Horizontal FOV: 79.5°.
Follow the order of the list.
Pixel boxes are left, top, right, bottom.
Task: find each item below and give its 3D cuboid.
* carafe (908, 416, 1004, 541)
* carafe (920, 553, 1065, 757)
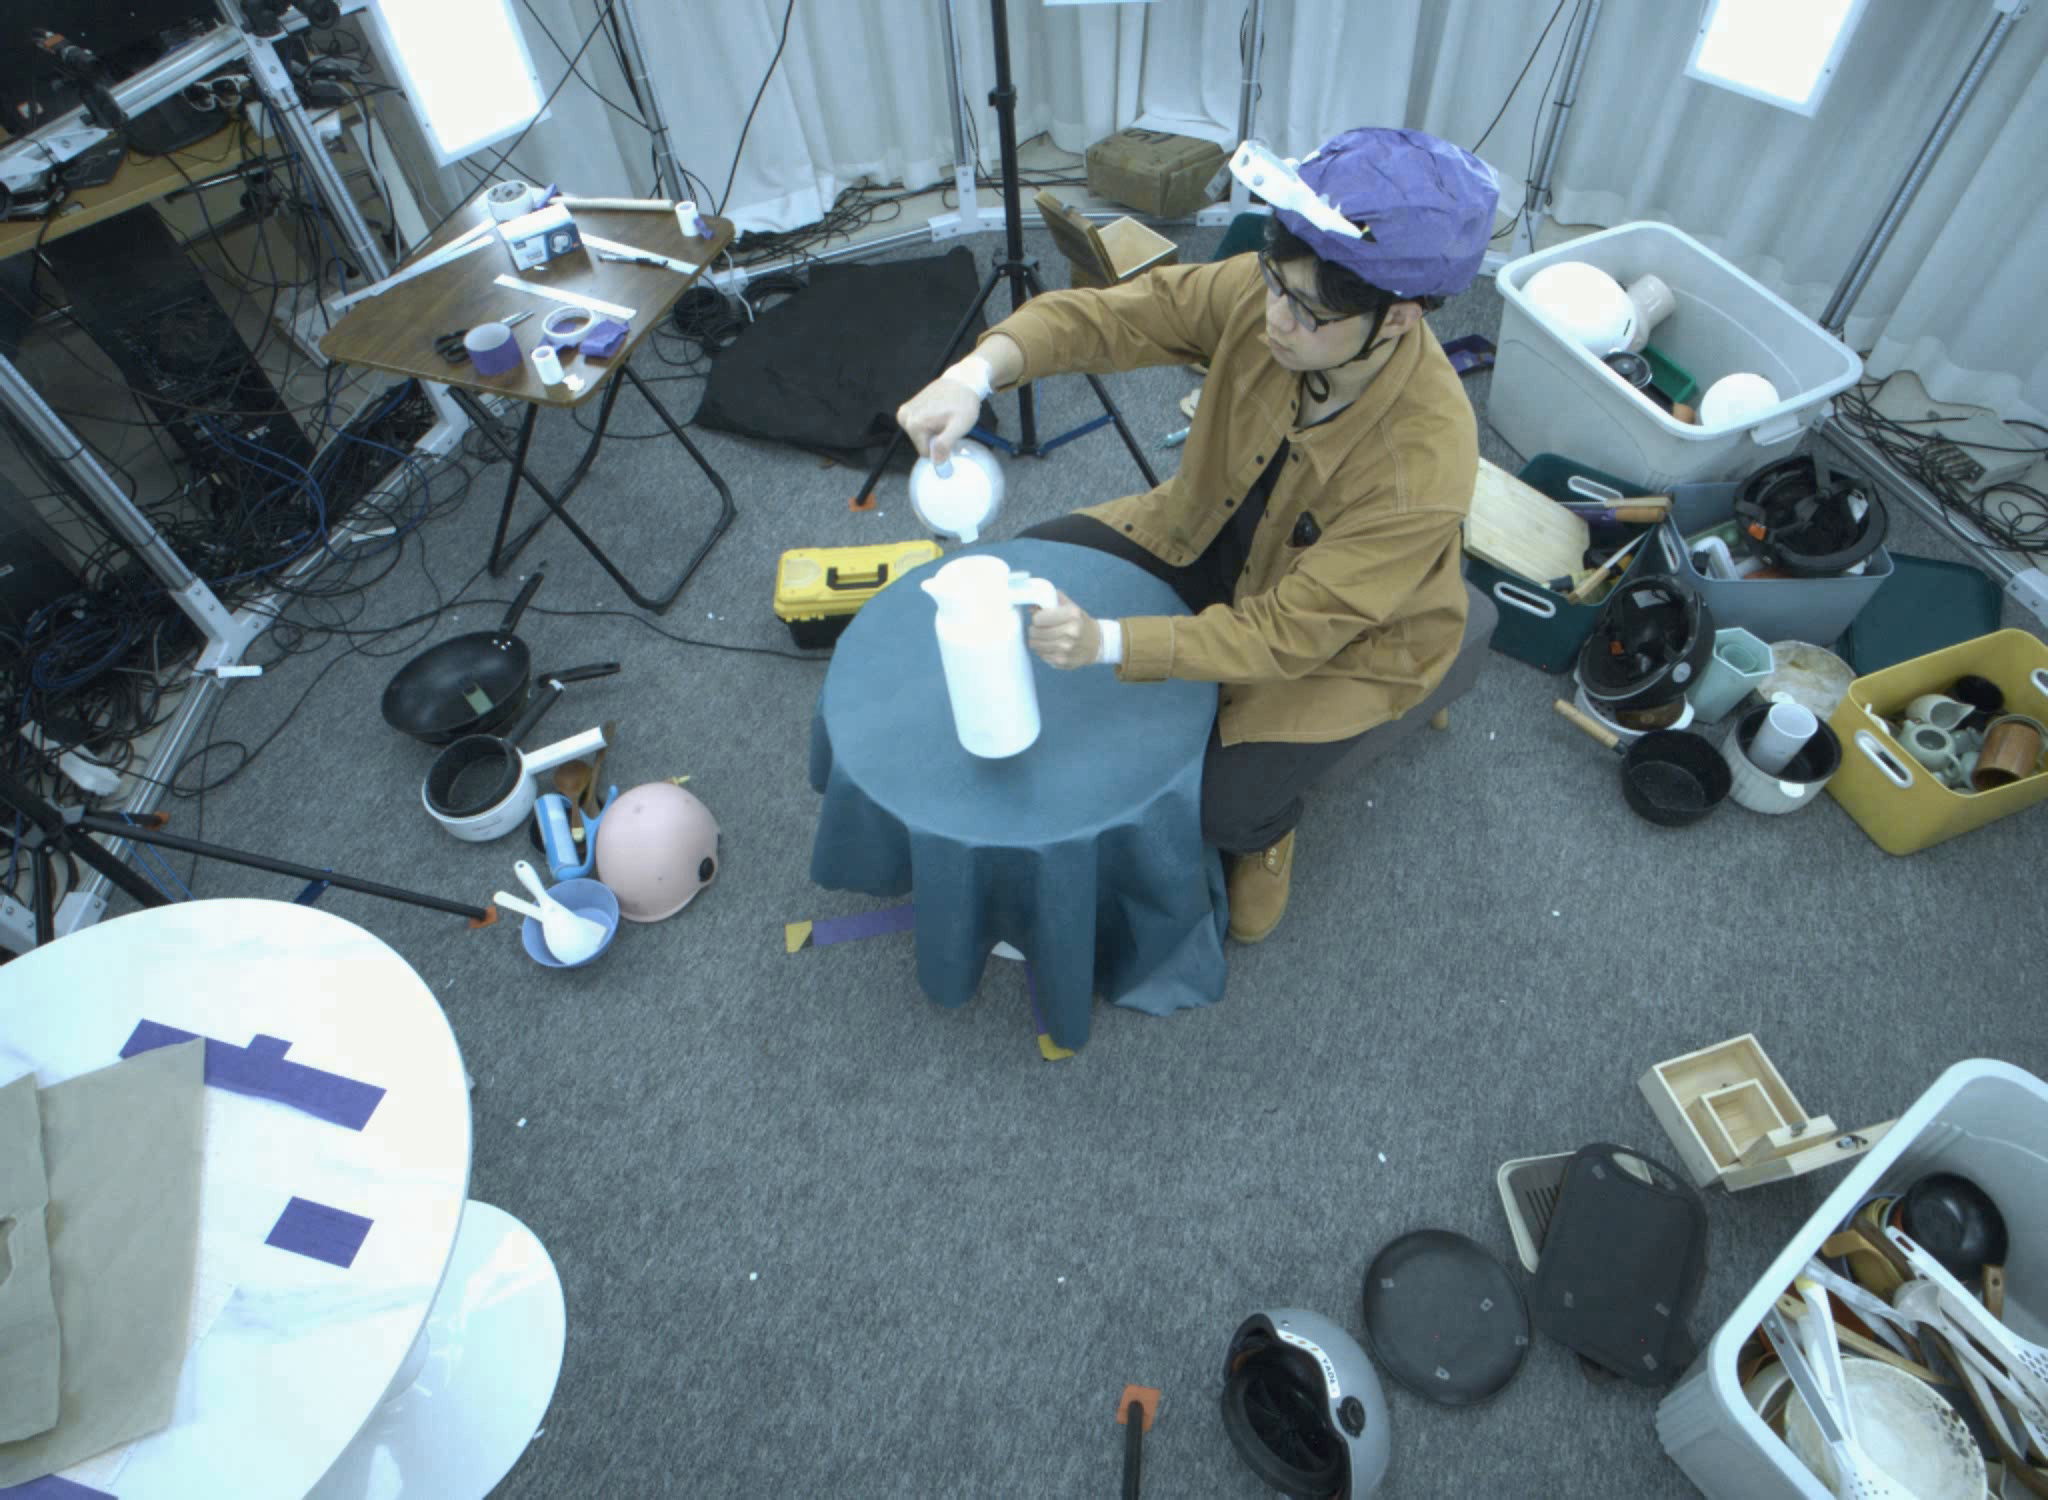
[{"bbox_3d":[-0.098,-0.363,1.604,0.132,0.169,0.246,-19,15,2],"label":"carafe"},{"bbox_3d":[-0.033,-0.124,1.631,0.172,0.272,0.123,-2,41,7],"label":"carafe"}]
